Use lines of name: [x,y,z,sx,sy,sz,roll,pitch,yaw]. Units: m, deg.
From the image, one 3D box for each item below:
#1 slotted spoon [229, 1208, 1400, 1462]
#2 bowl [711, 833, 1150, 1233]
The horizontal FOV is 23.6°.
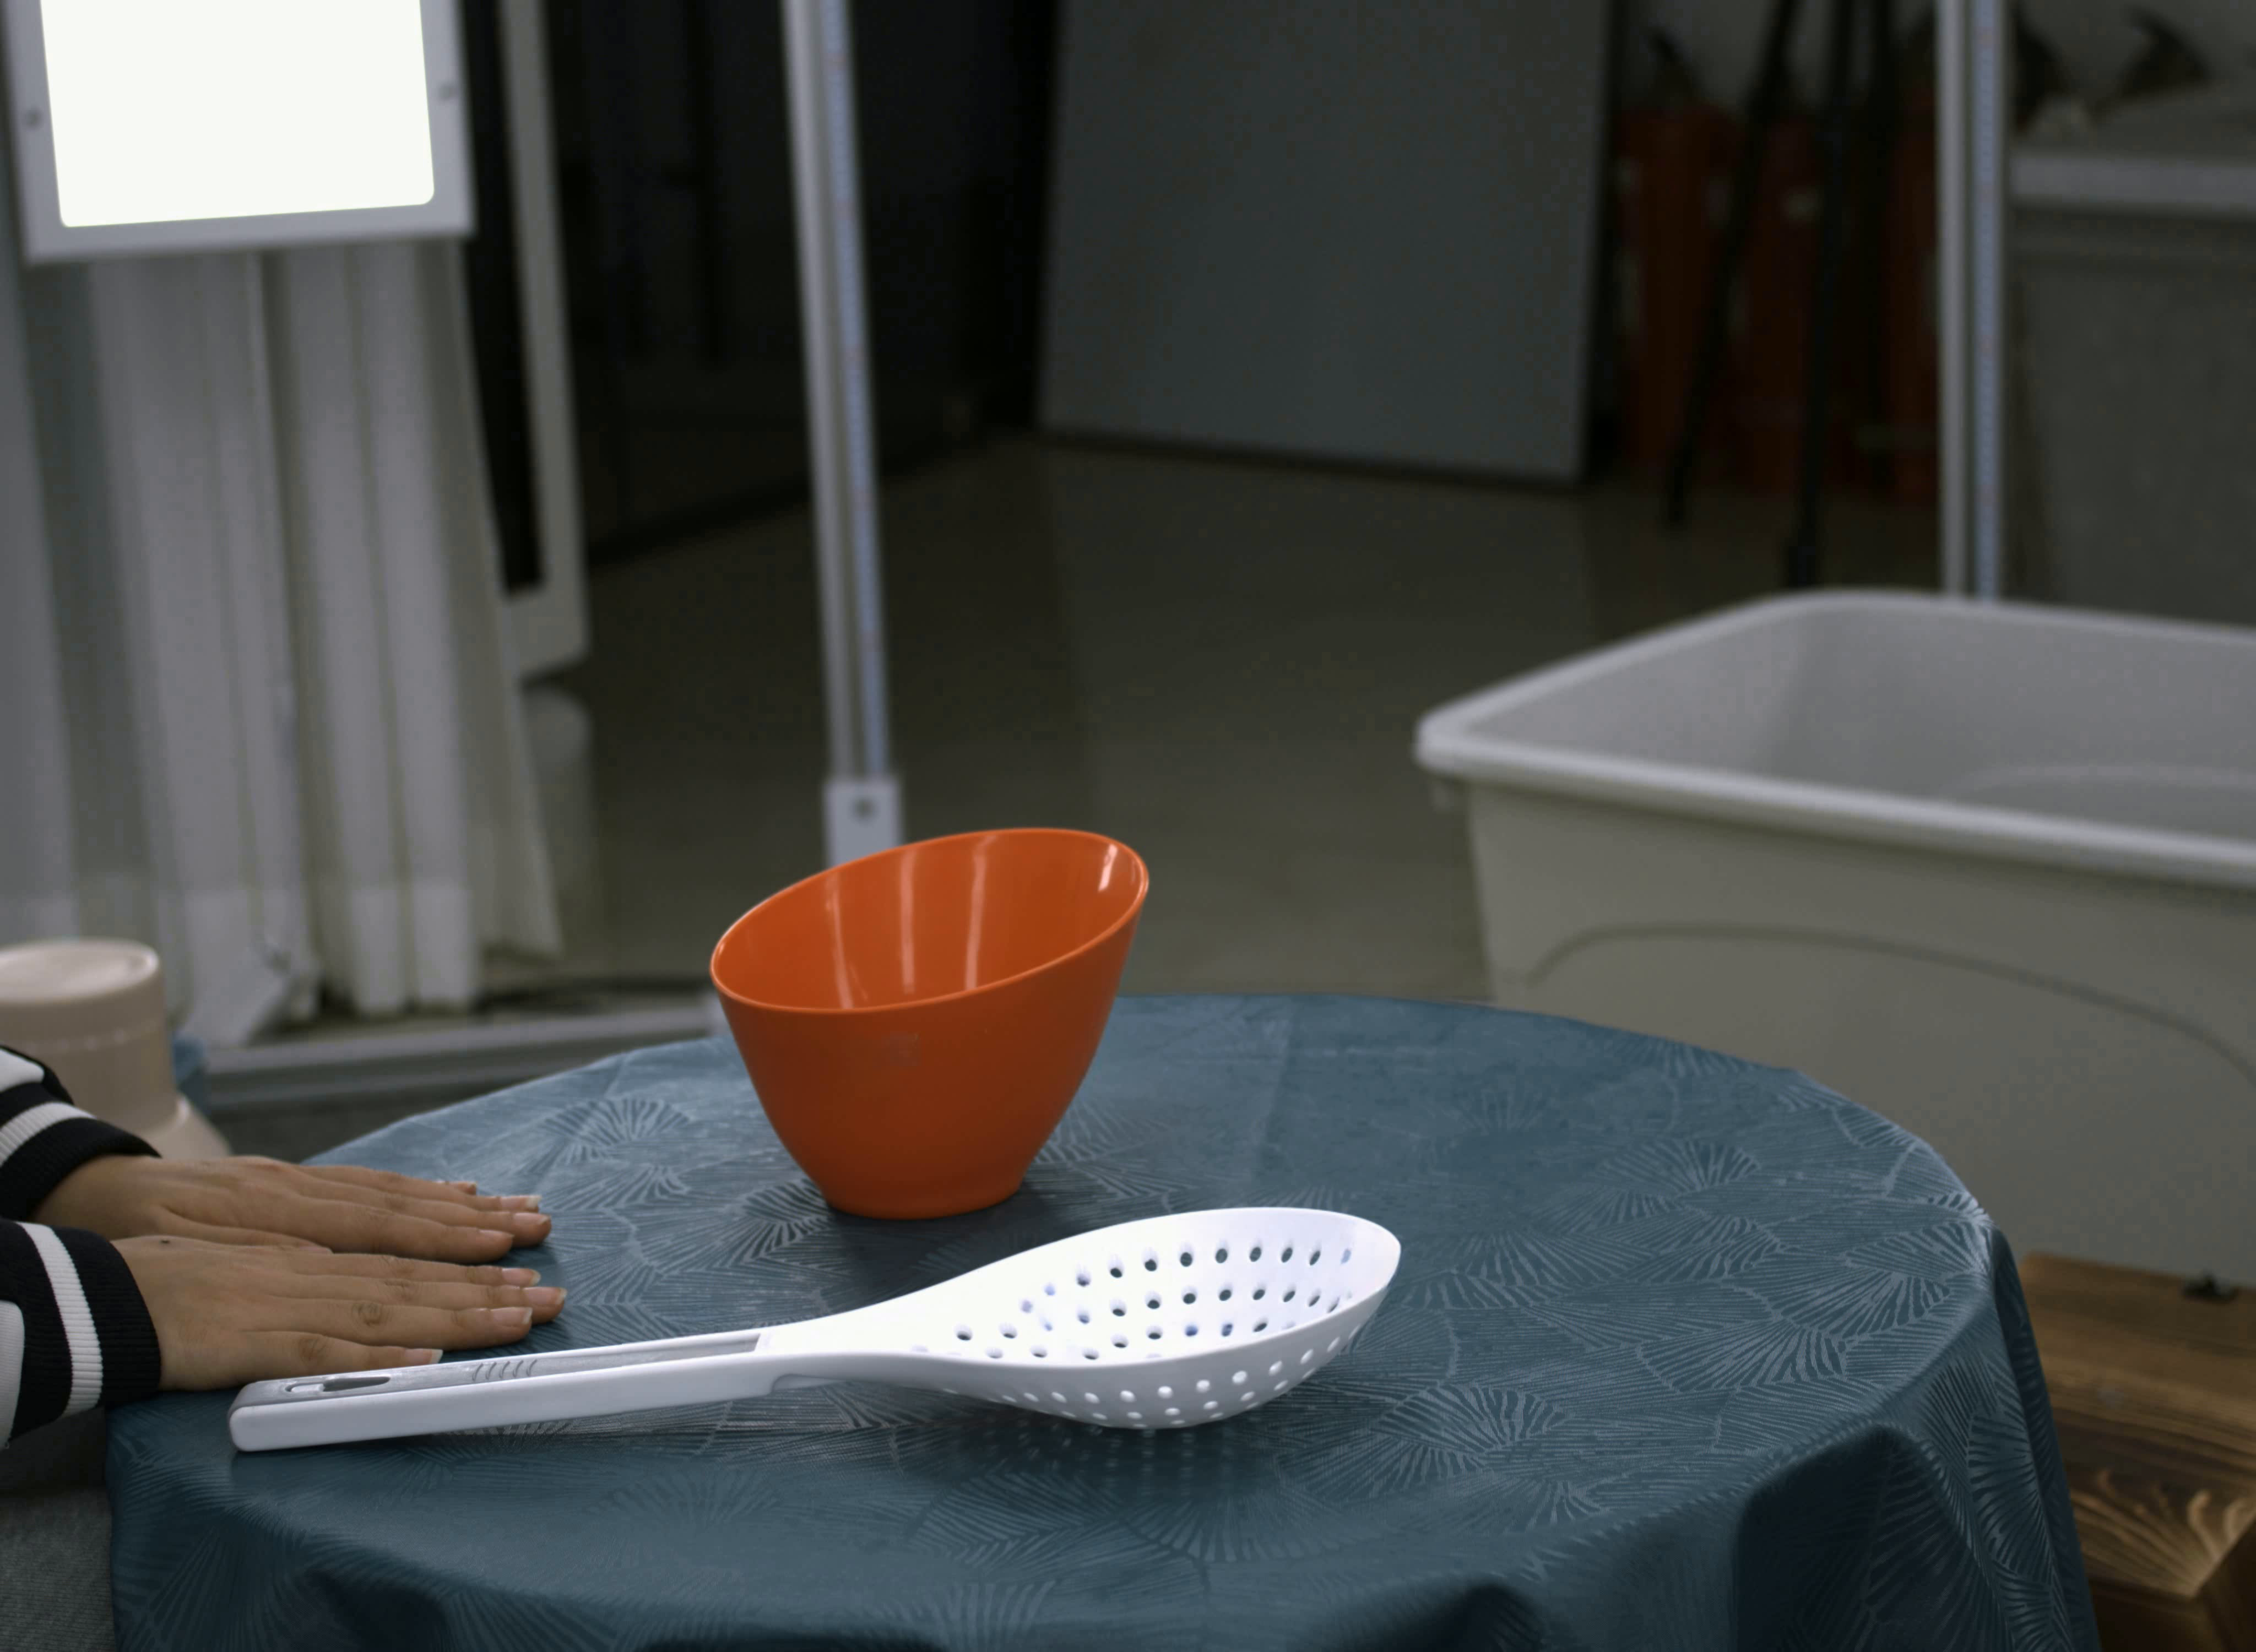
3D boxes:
slotted spoon: [-0.092,0.154,1.570,0.346,0.046,0.136,-3,12,7]
bowl: [-0.062,0.072,1.780,0.146,0.106,0.148,-4,15,0]
